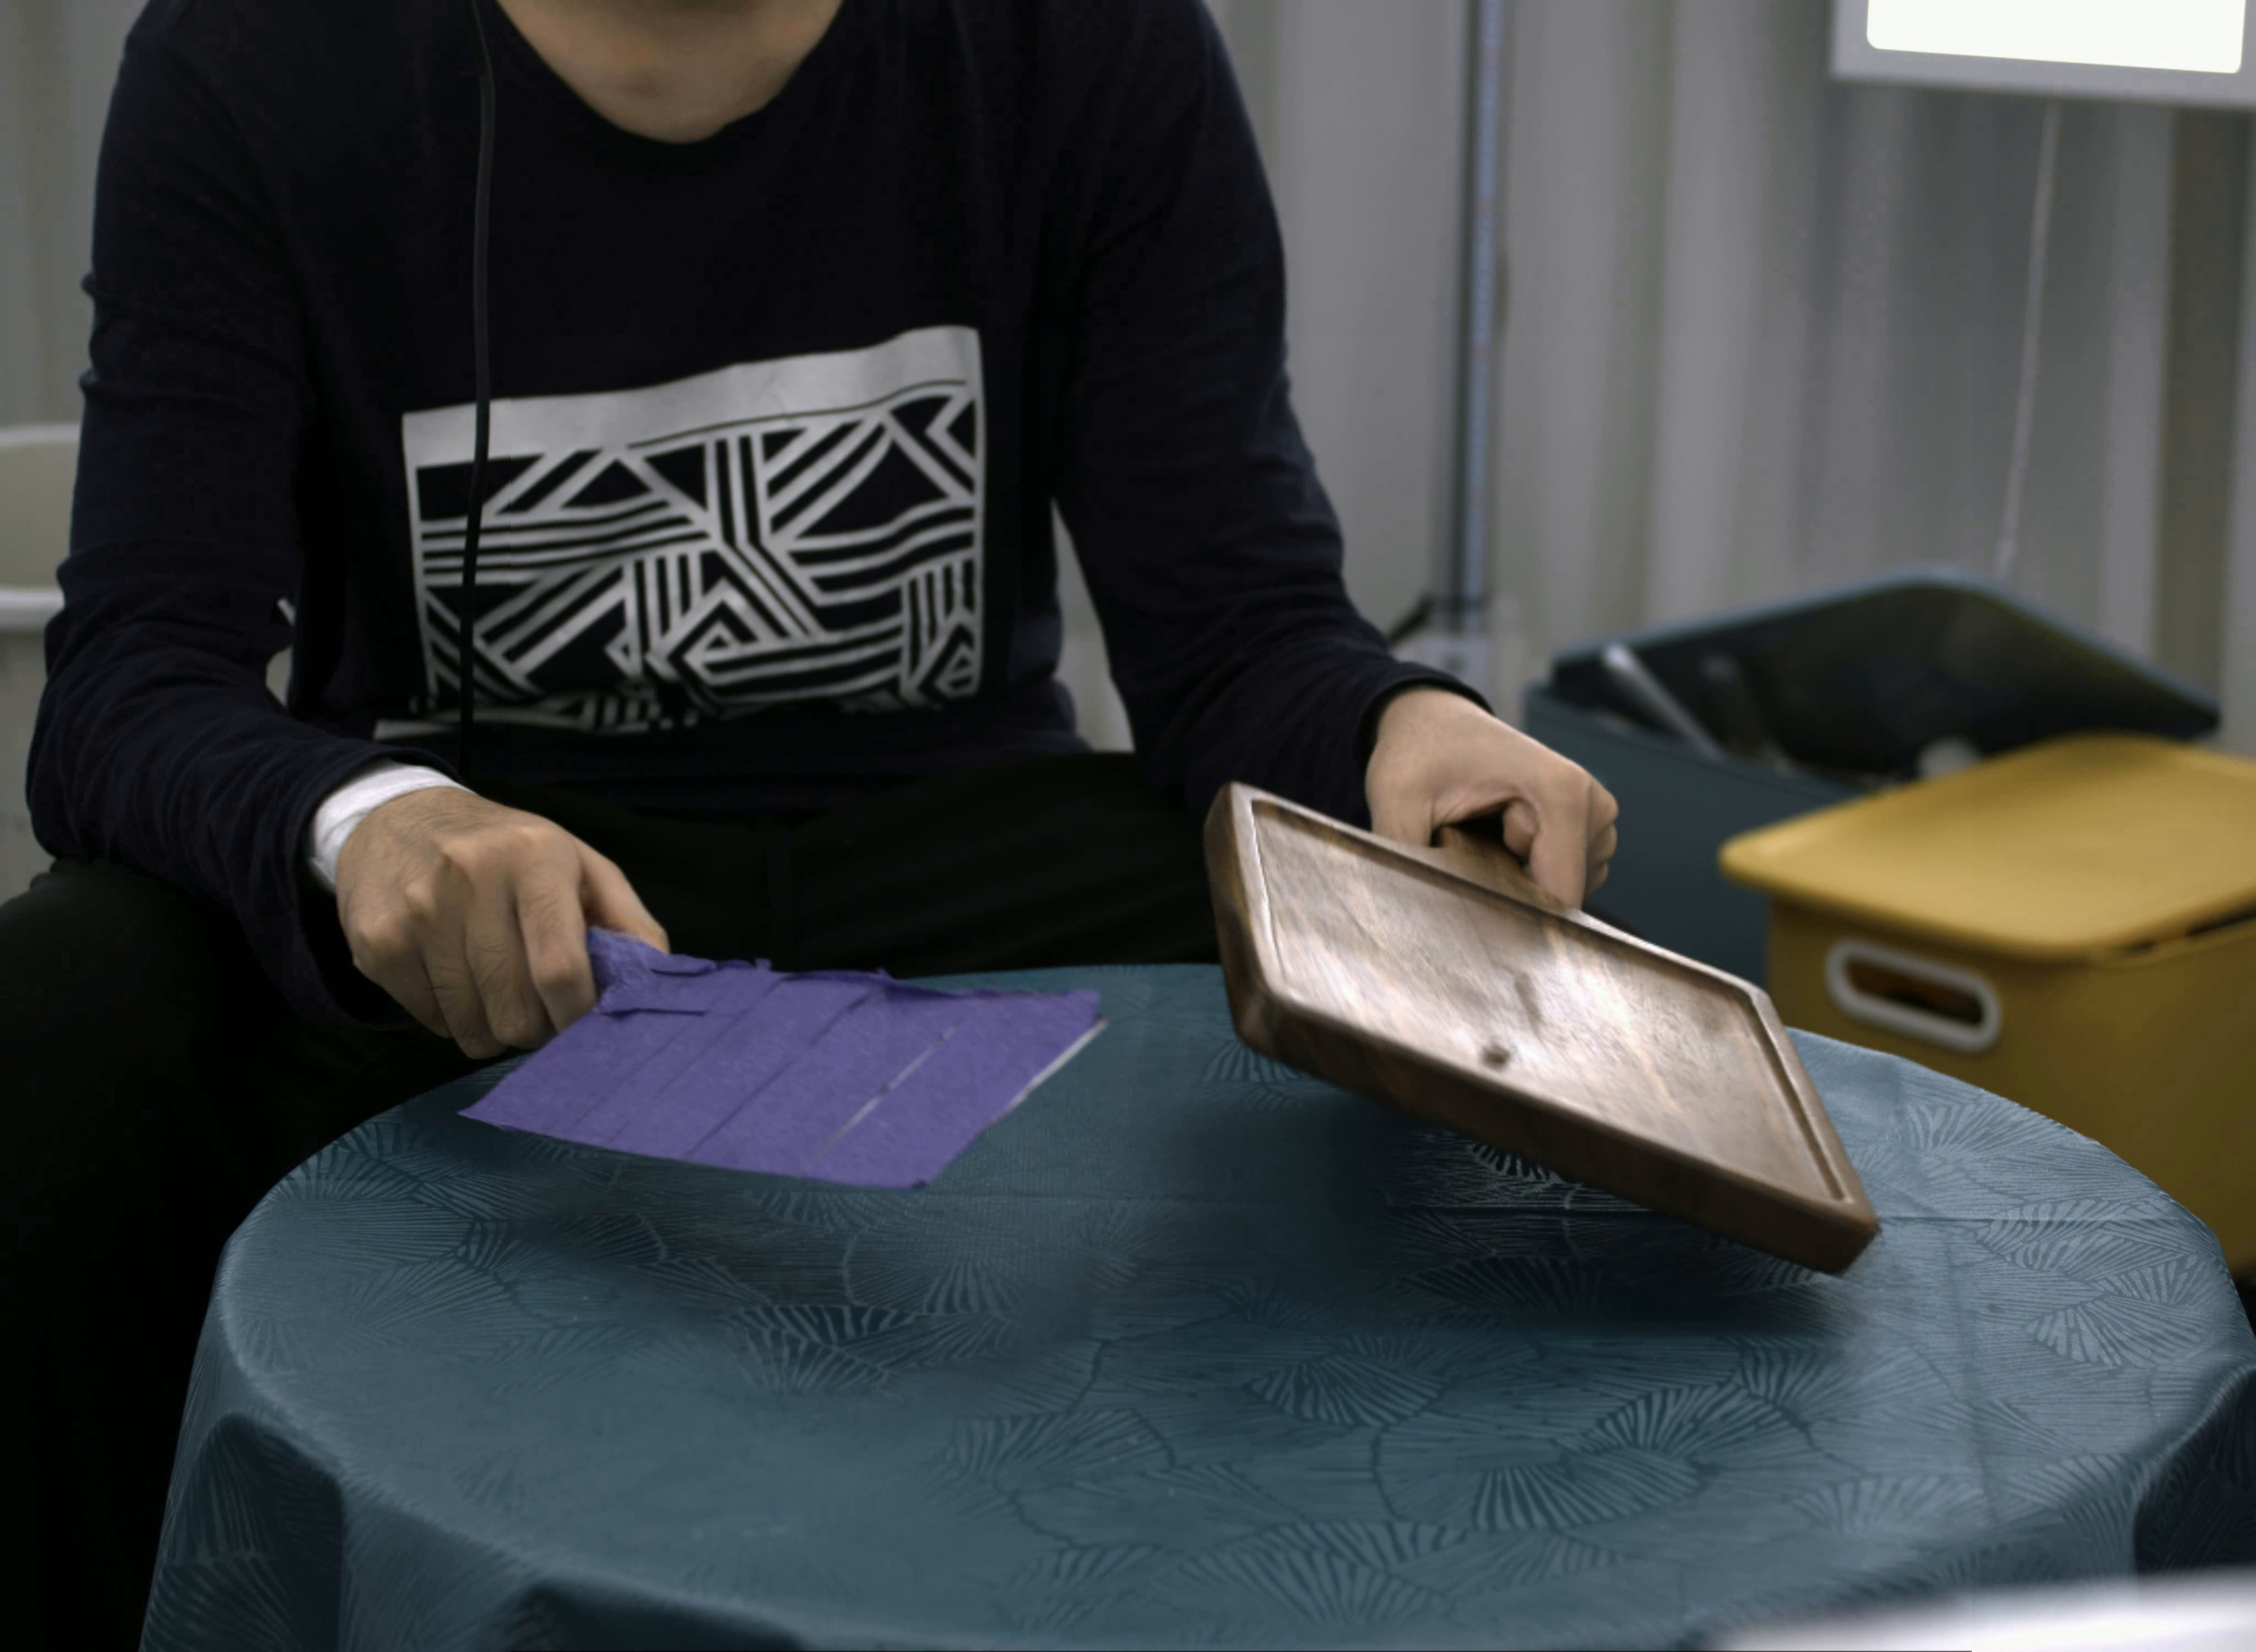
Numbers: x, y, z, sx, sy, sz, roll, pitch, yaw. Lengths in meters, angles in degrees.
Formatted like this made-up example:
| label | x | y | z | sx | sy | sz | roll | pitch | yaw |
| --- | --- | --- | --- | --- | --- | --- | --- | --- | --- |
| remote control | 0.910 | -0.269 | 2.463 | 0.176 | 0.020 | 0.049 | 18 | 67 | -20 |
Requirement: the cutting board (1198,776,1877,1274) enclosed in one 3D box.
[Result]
| label | x | y | z | sx | sy | sz | roll | pitch | yaw |
| --- | --- | --- | --- | --- | --- | --- | --- | --- | --- |
| cutting board | 0.118 | 0.044 | 1.655 | 0.201 | 0.023 | 0.350 | 22 | 12 | -6 |

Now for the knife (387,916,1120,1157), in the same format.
| label | x | y | z | sx | sy | sz | roll | pitch | yaw |
| --- | --- | --- | --- | --- | --- | --- | --- | --- | --- |
| knife | -0.140 | 0.061 | 1.572 | 0.311 | 0.032 | 0.104 | 1 | 32 | 46 |
